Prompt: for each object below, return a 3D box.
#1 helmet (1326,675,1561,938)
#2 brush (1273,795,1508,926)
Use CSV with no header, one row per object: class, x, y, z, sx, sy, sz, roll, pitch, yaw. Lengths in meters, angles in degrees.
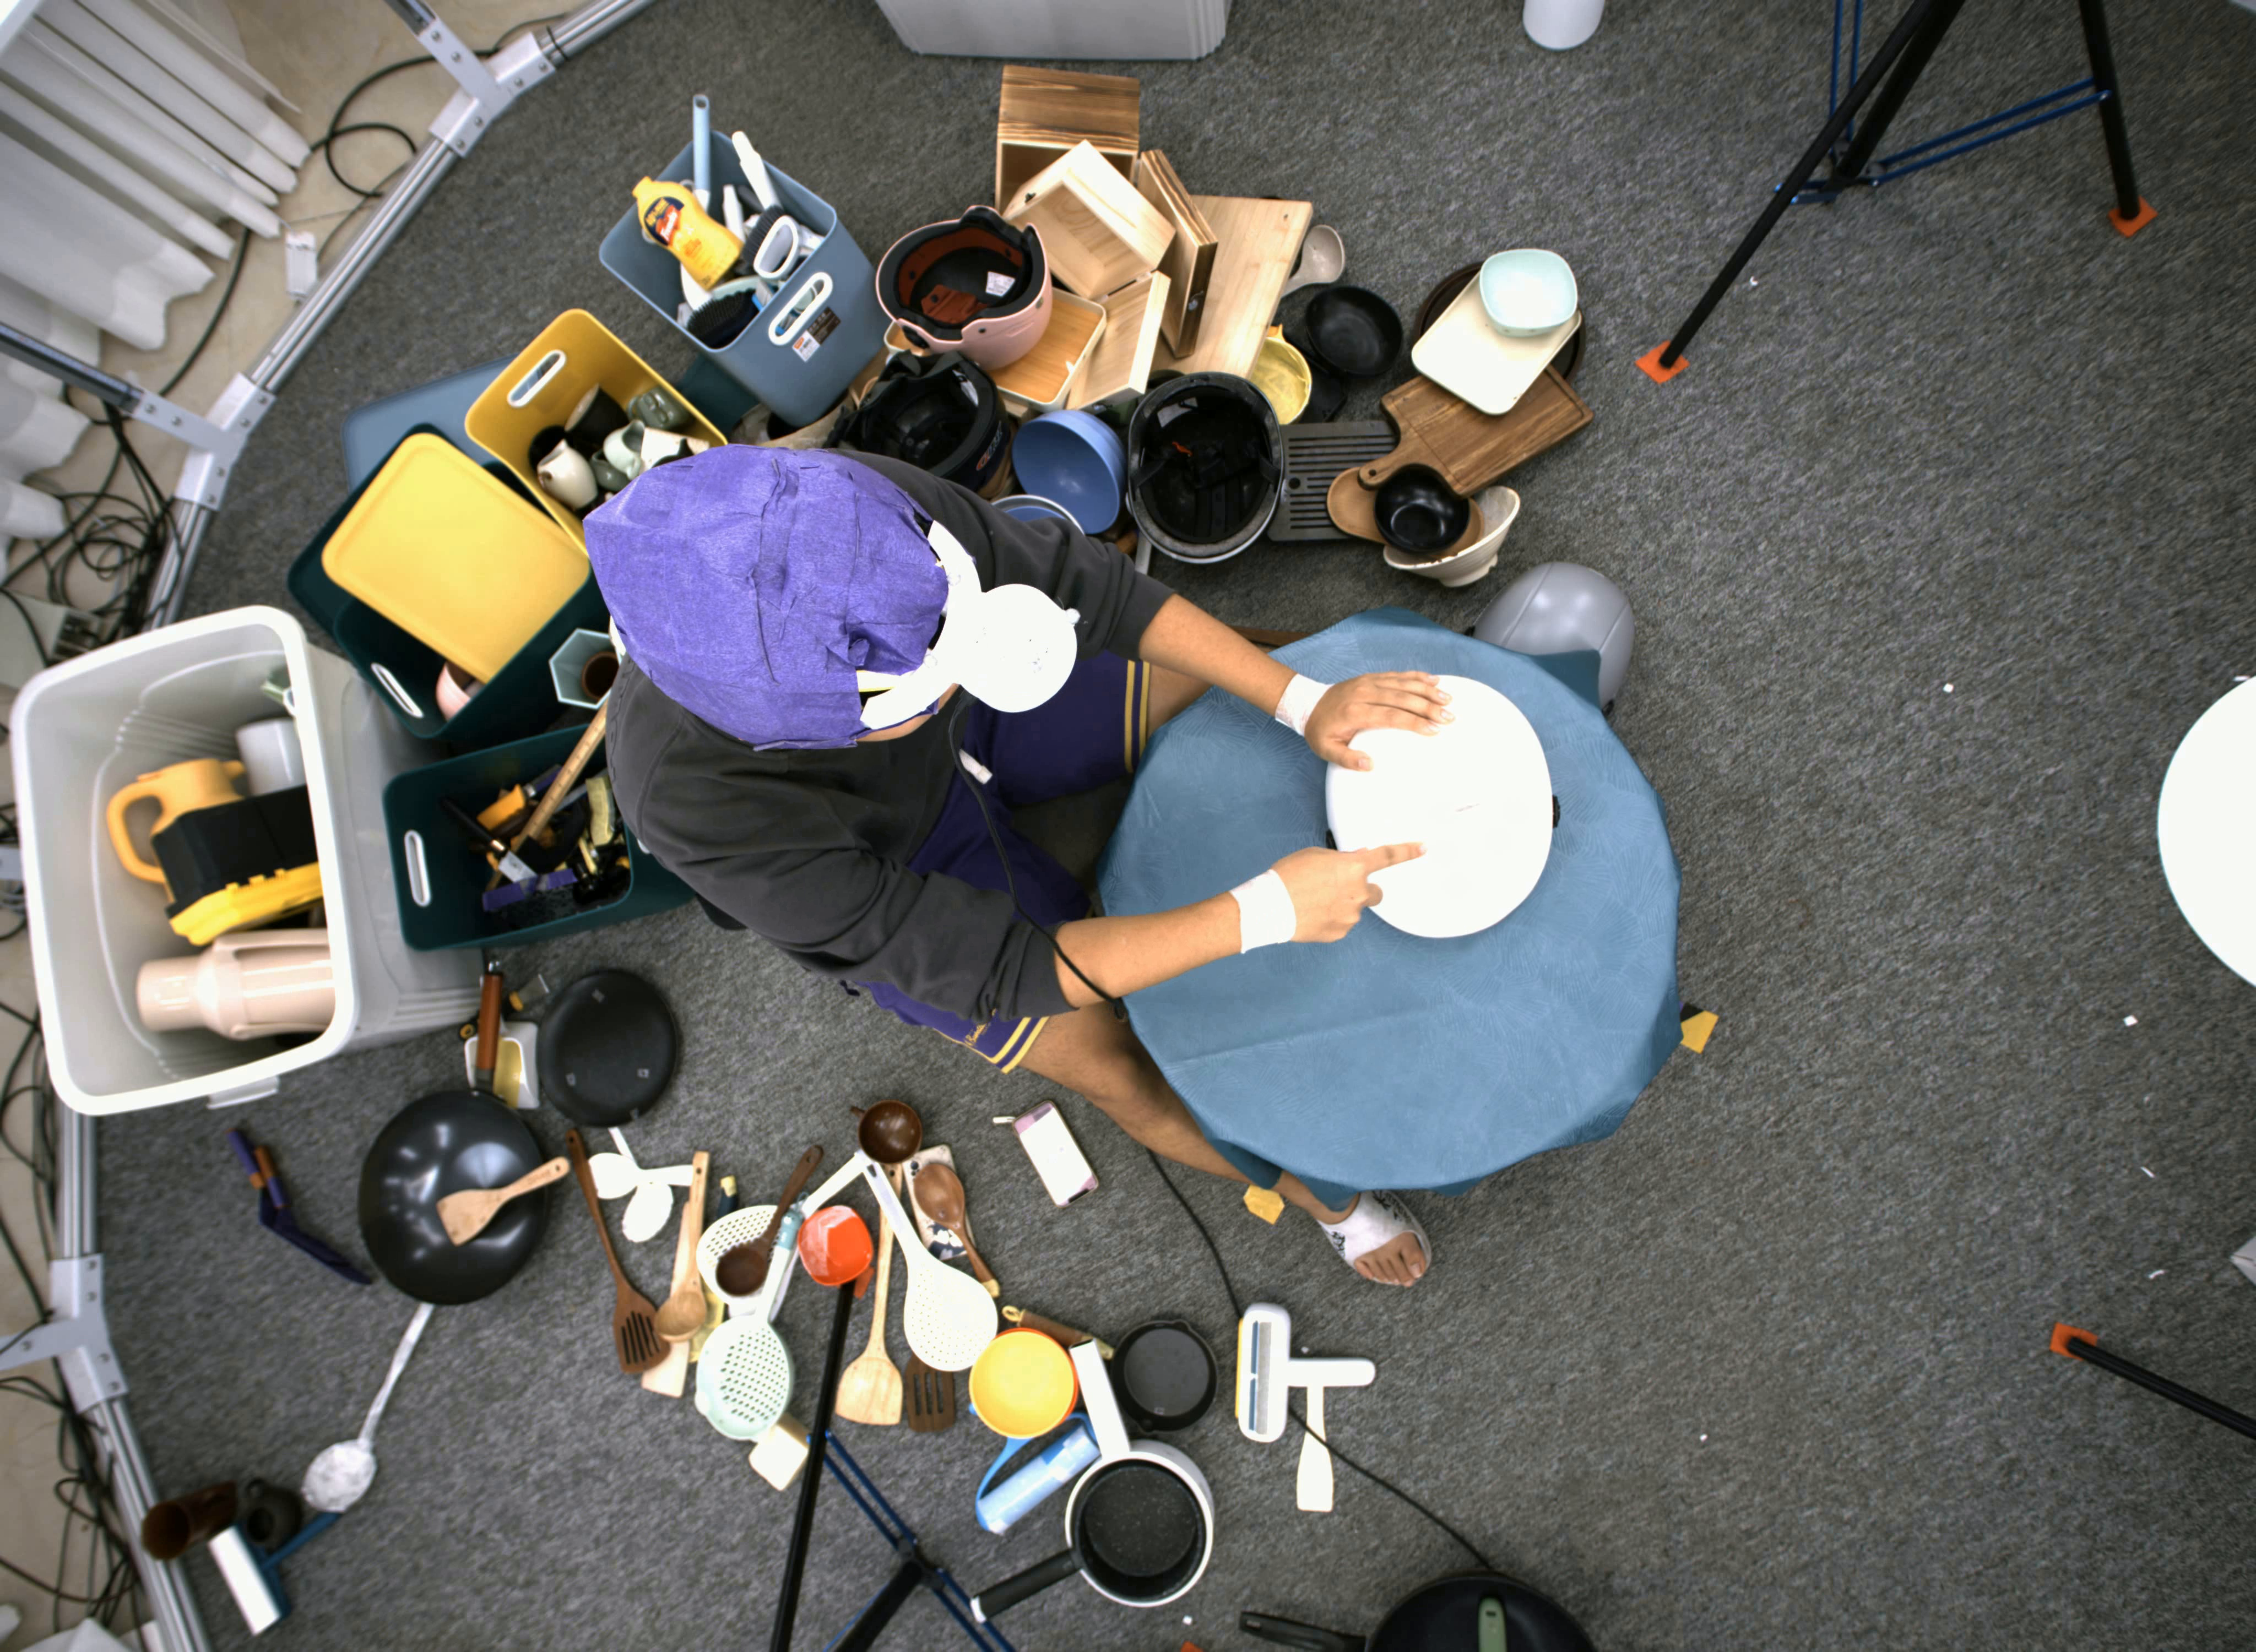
helmet,0.314,-0.026,1.374,0.238,0.167,0.267,-7,85,9
brush,0.241,0.031,1.273,0.243,0.050,0.034,-24,98,-1
